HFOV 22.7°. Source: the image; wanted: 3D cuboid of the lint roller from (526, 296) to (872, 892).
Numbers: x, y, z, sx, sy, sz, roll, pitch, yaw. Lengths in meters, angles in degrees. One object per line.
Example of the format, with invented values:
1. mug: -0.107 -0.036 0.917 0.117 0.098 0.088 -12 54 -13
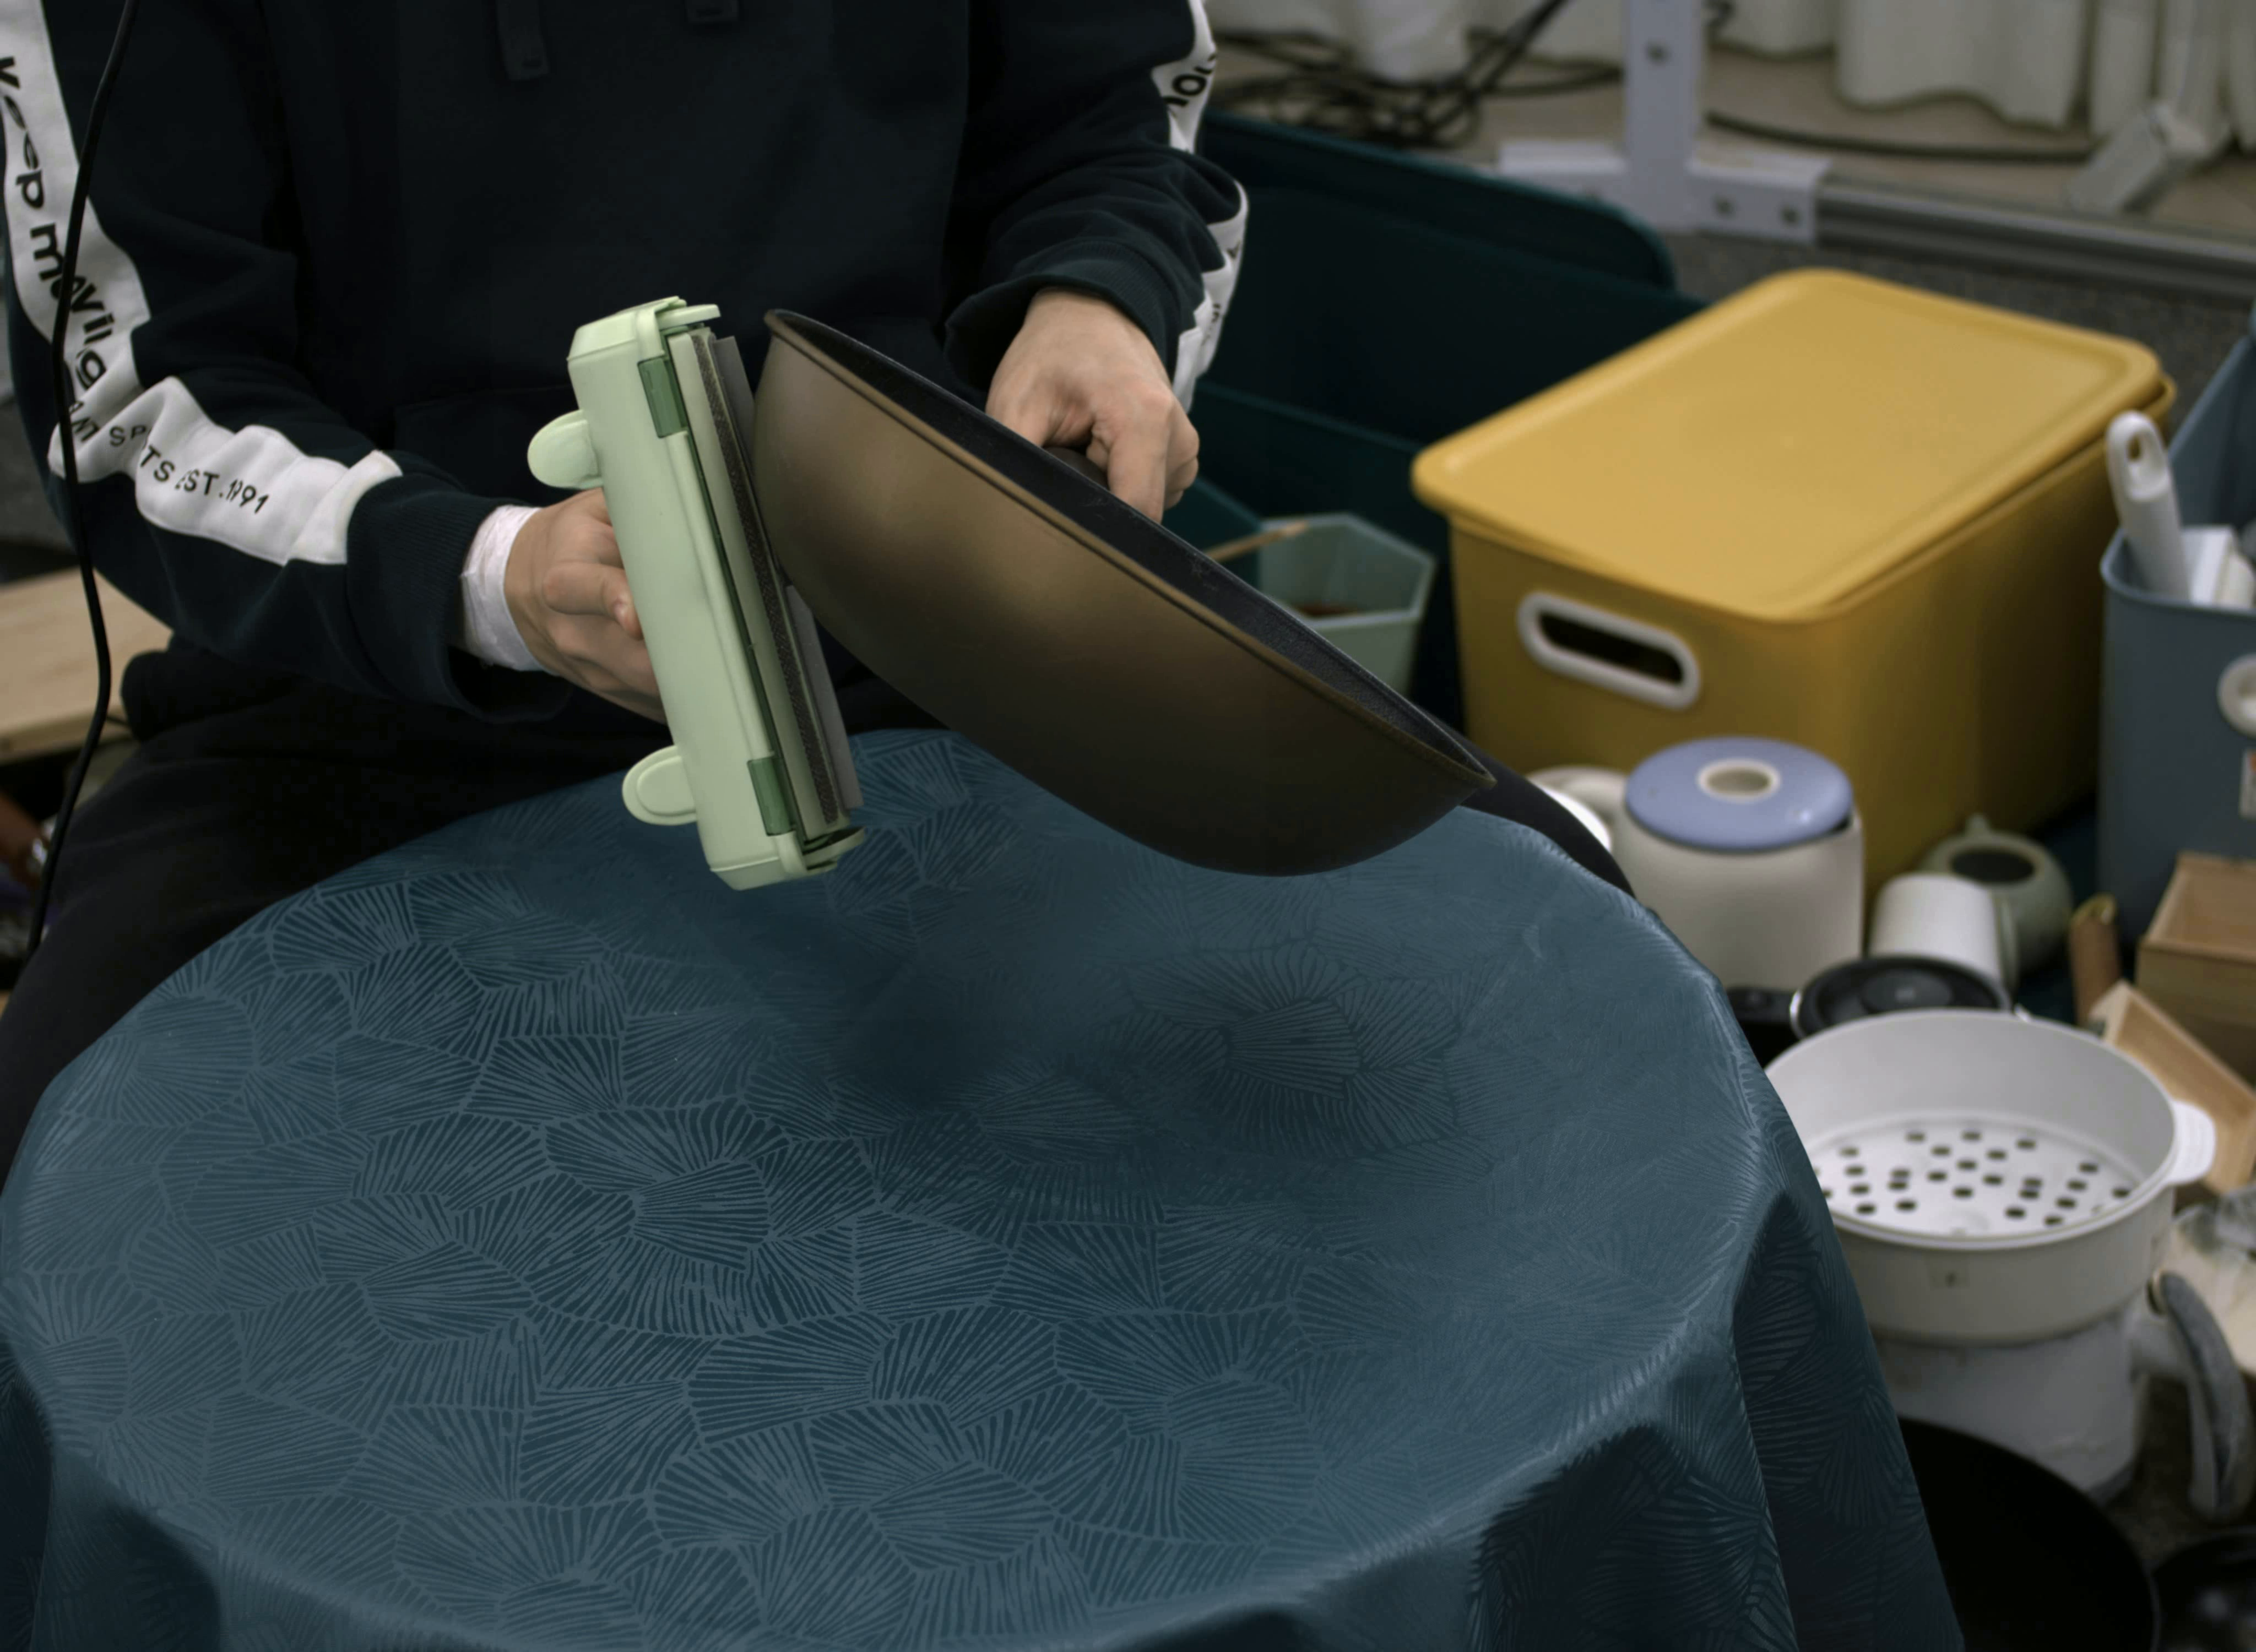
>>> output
1. lint roller: -0.163 -0.072 1.923 0.082 0.199 0.182 -17 2 -22

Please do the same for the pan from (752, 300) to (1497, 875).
1. pan: -0.028 -0.079 1.937 0.287 0.087 0.465 32 4 -11
